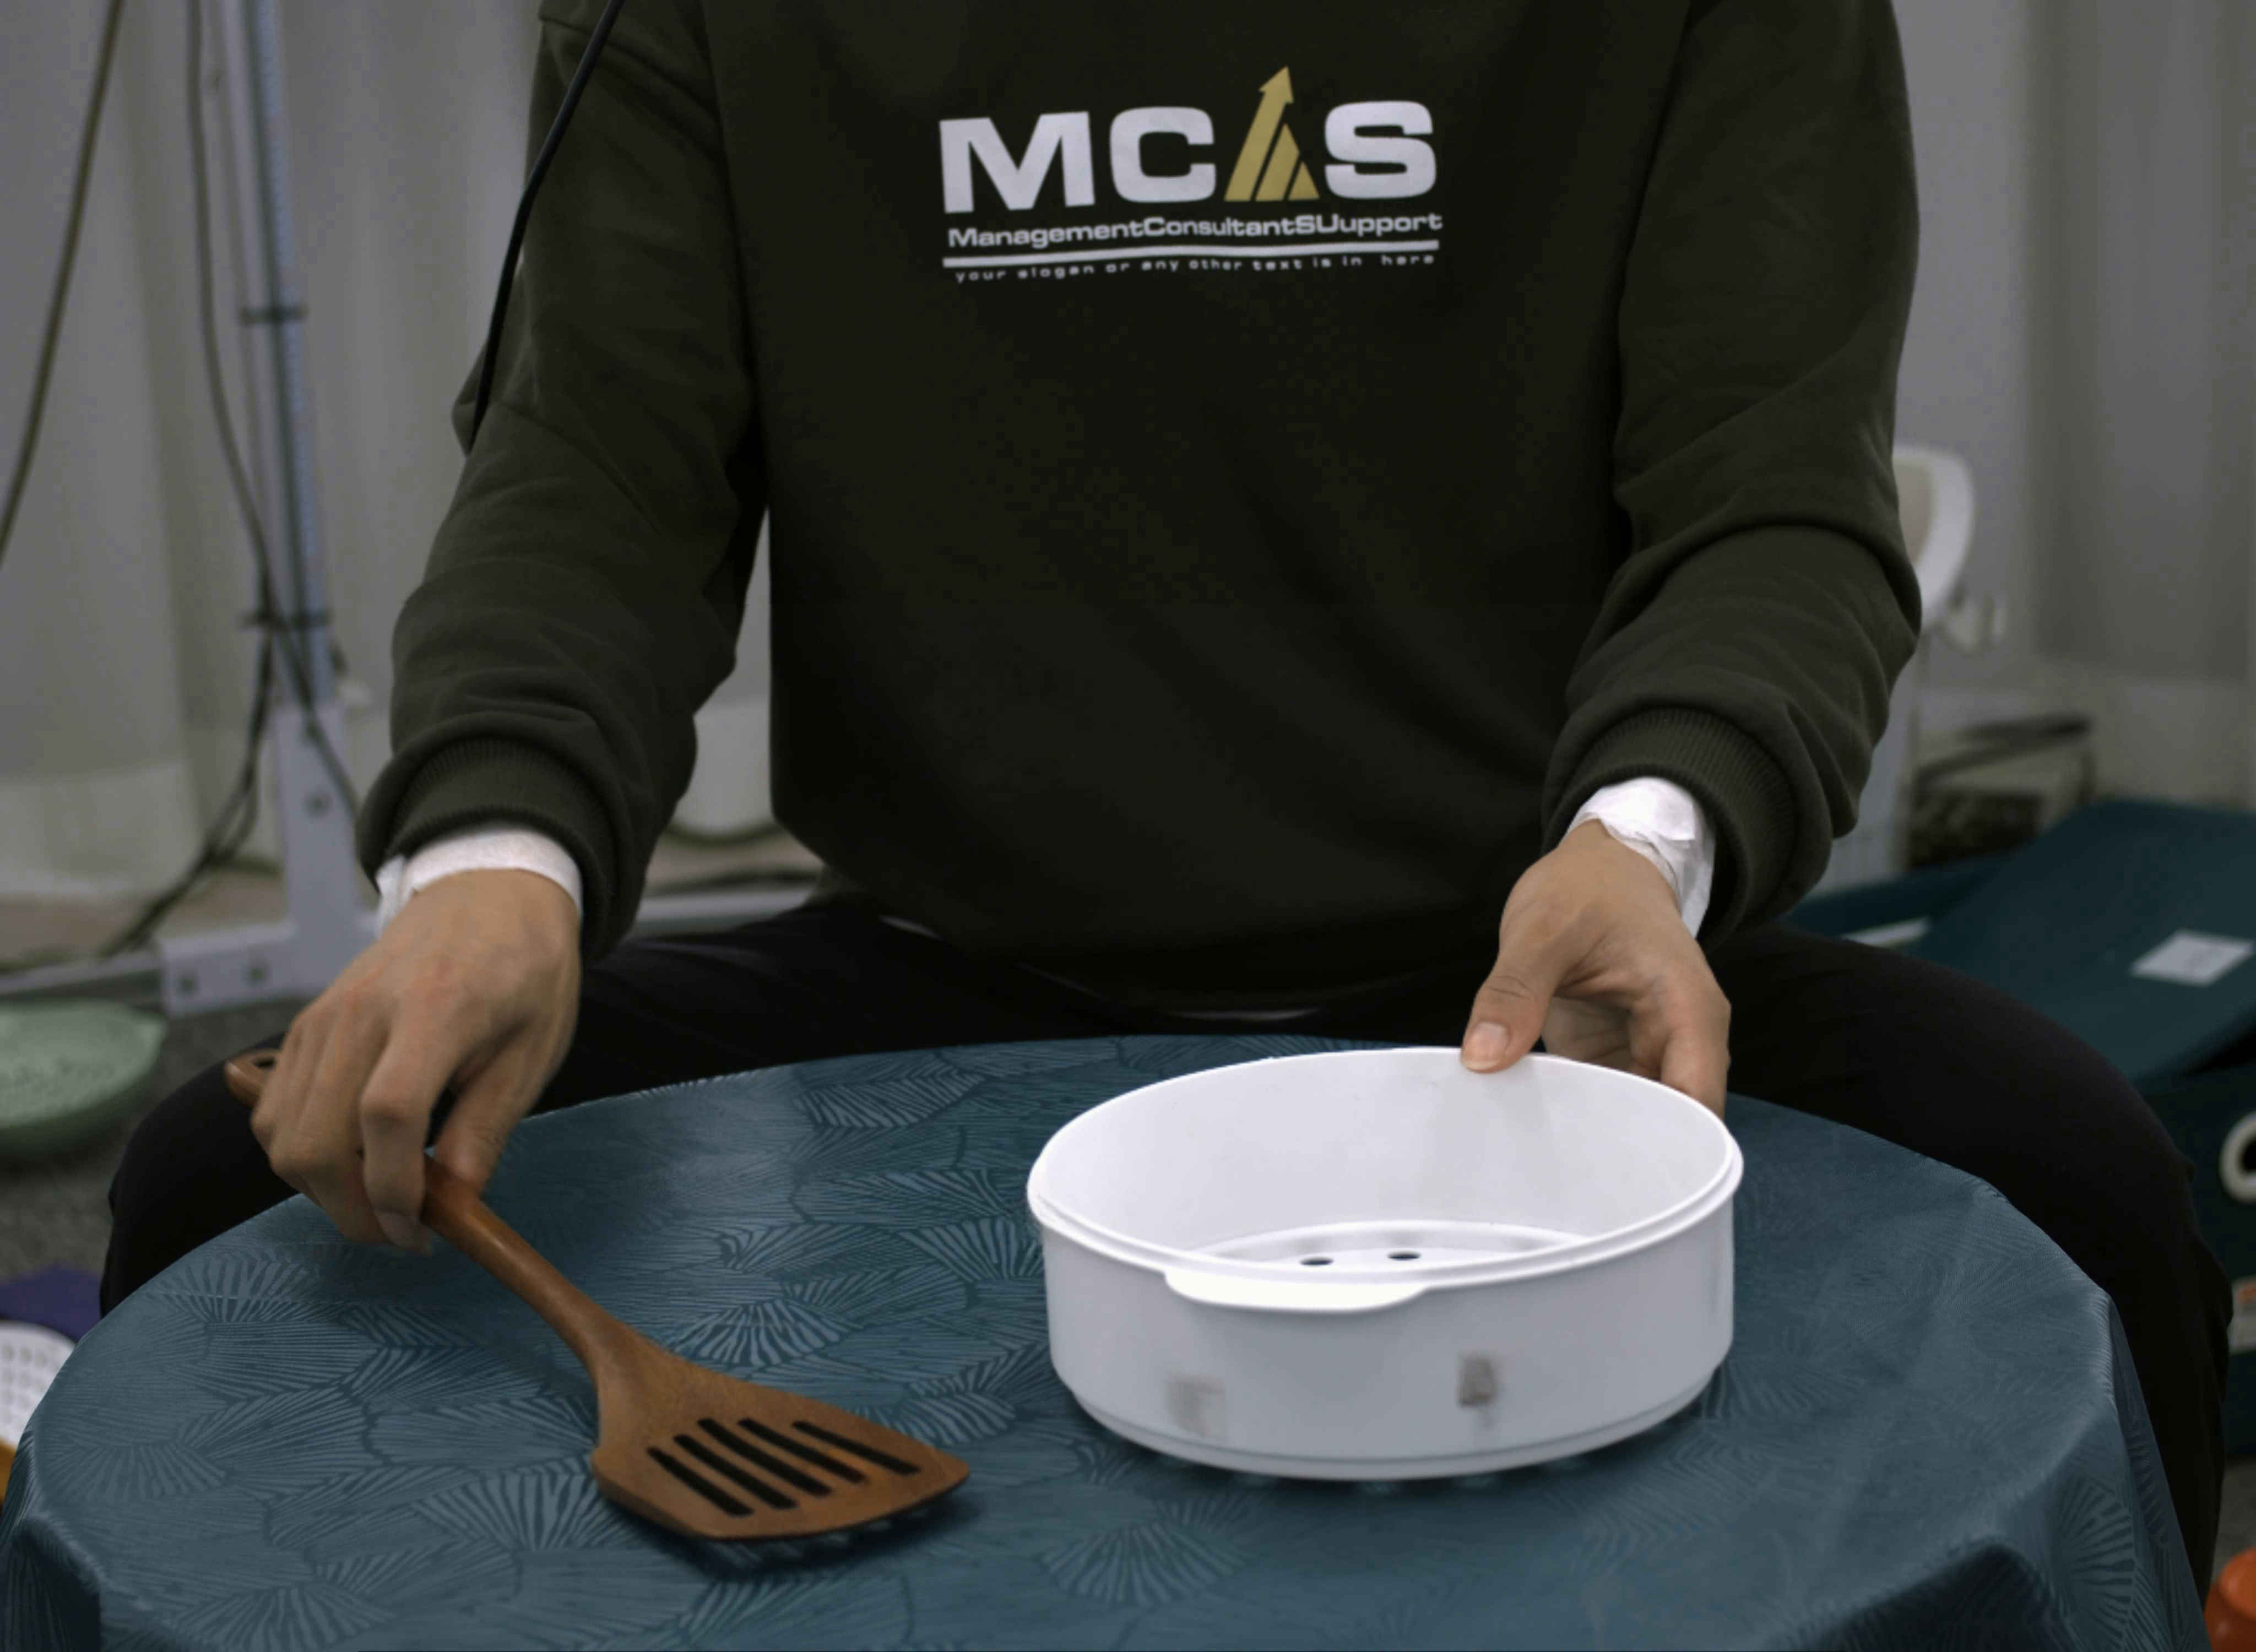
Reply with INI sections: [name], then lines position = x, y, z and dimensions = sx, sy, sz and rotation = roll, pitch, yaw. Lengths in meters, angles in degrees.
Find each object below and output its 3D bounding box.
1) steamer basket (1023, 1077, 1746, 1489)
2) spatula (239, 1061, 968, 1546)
[steamer basket]
position = 0.071, 0.128, 1.535
dimensions = 0.202, 0.069, 0.231
rotation = 4, 13, 17
[spatula]
position = -0.175, 0.135, 1.588
dimensions = 0.085, 0.023, 0.389
rotation = -10, 22, -31
